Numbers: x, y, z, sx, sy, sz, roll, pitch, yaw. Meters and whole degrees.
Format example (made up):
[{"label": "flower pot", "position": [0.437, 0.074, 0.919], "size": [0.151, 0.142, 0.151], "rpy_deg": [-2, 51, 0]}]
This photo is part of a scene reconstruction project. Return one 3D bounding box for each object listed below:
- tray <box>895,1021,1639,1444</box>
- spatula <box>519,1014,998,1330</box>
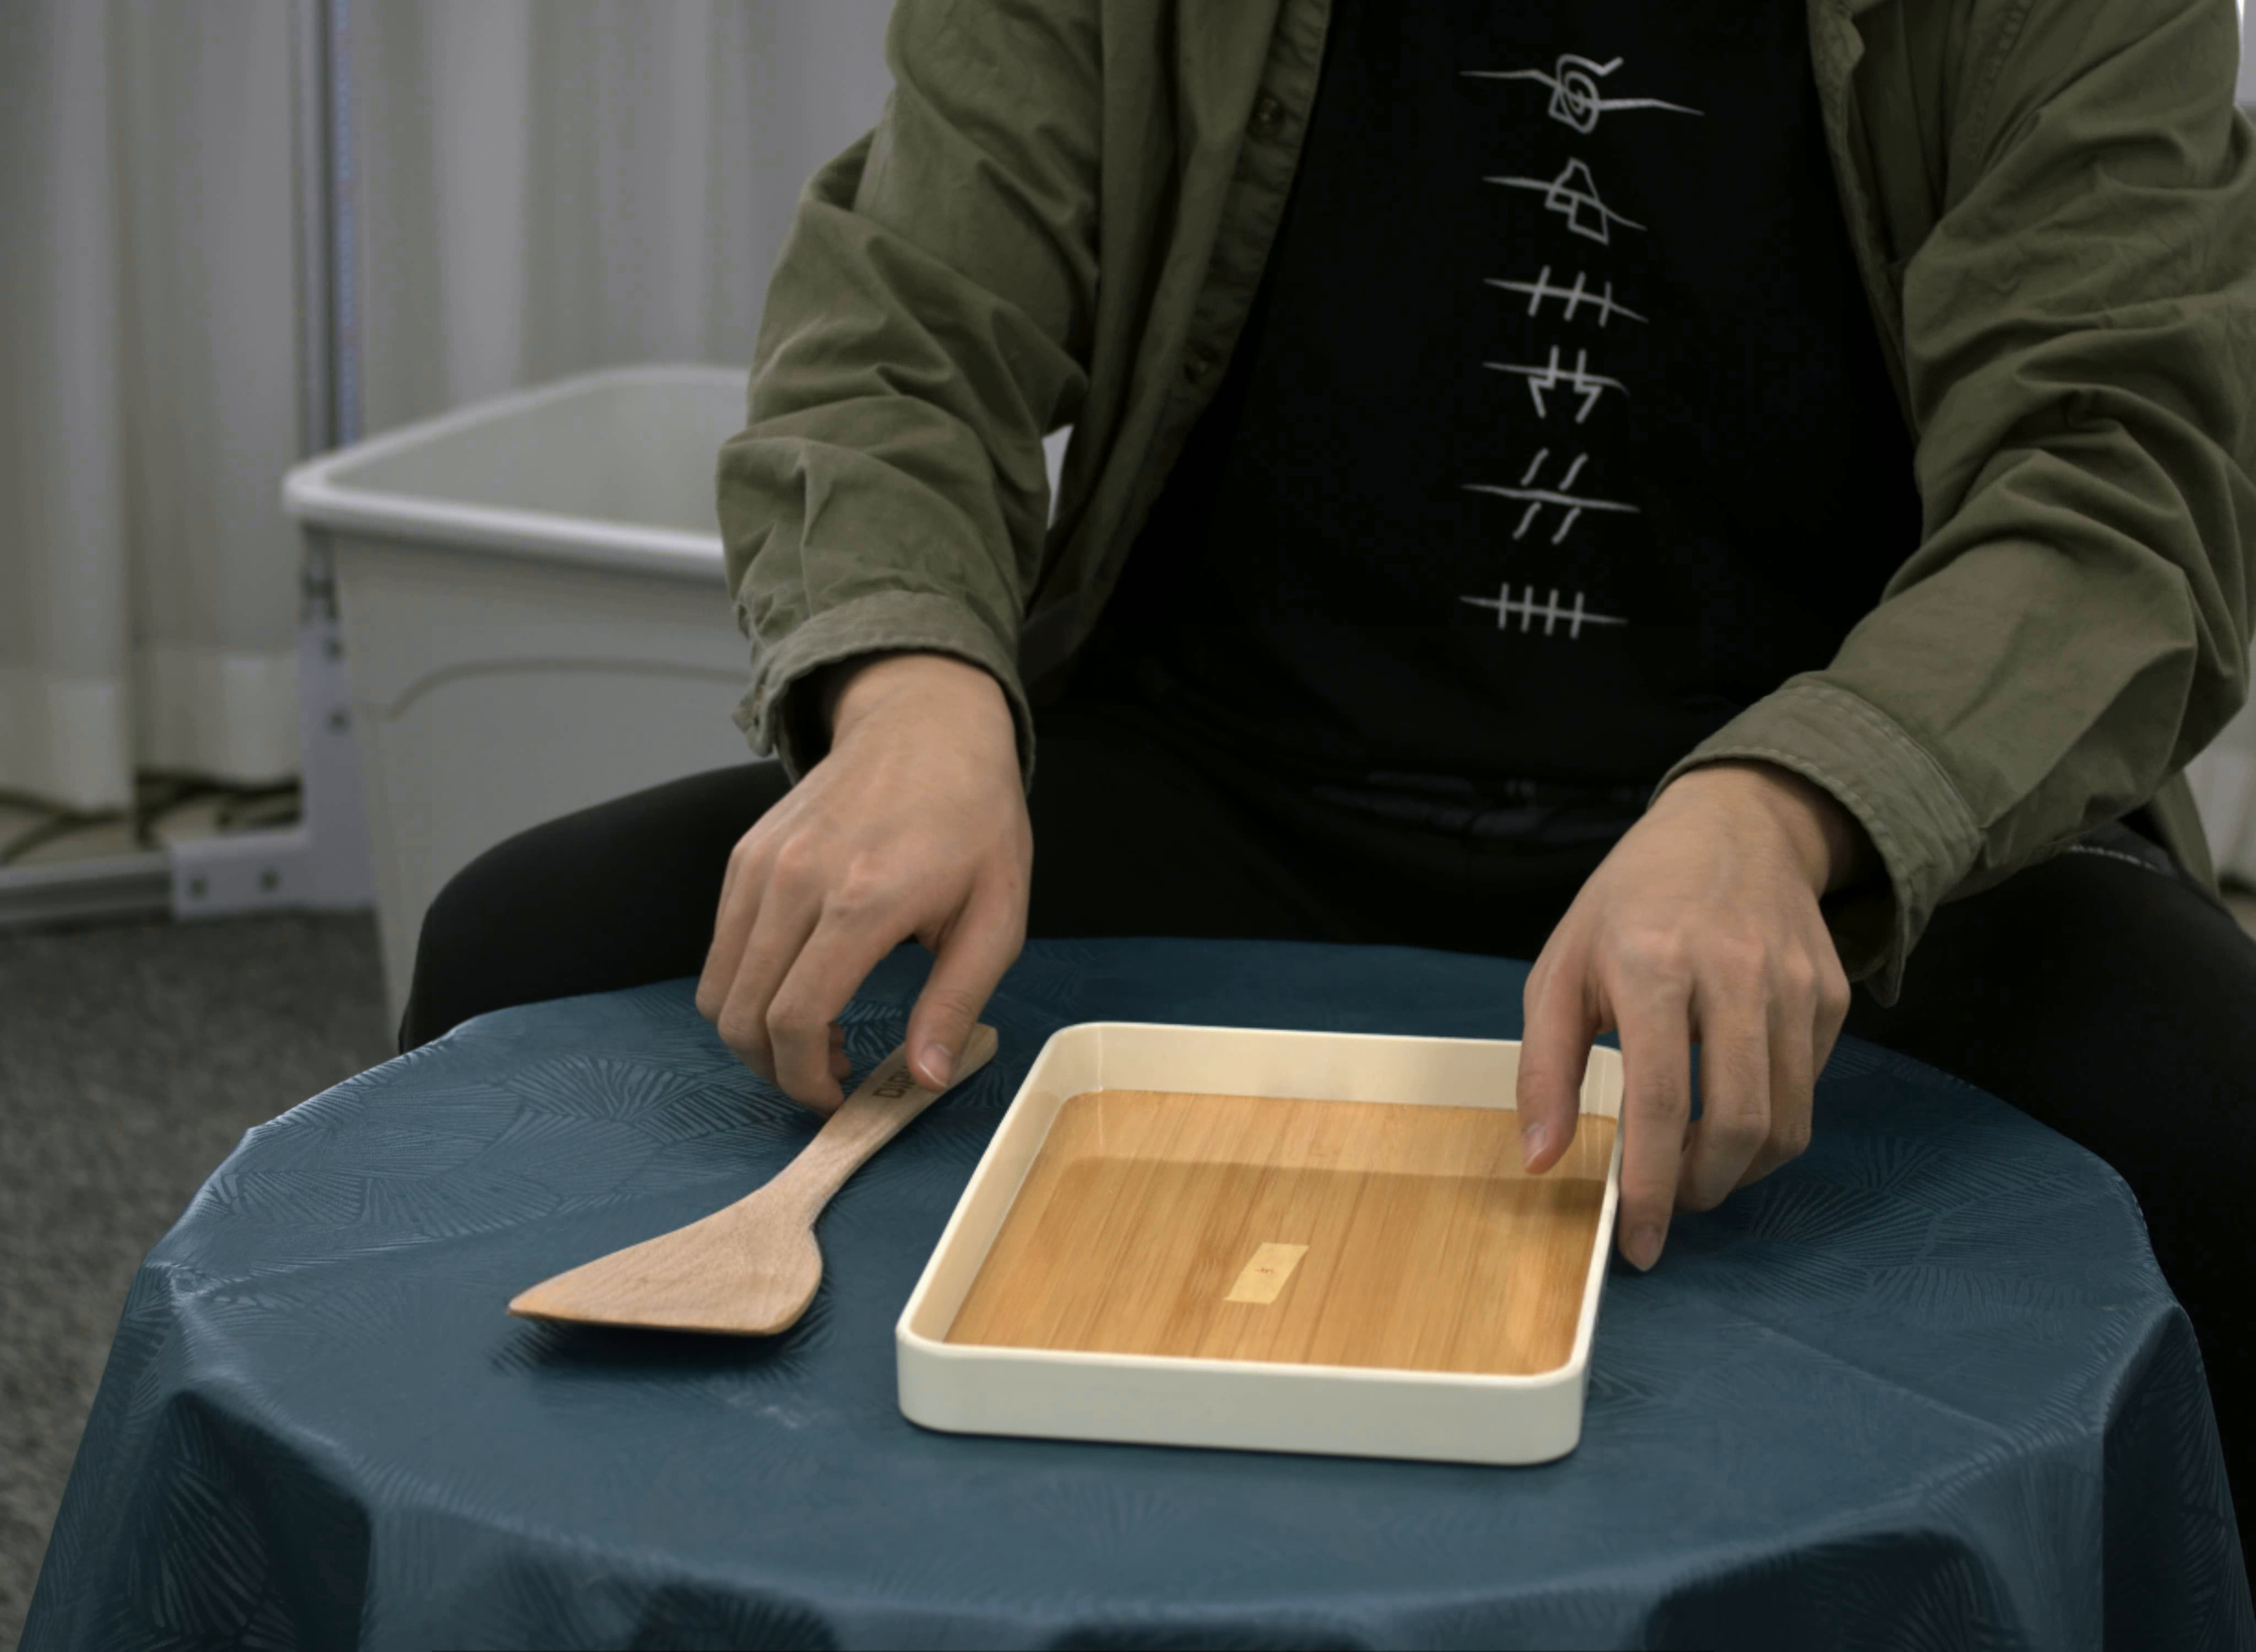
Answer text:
[{"label": "tray", "position": [0.049, 0.116, 1.566], "size": [0.190, 0.027, 0.299], "rpy_deg": [3, 15, 8]}, {"label": "spatula", "position": [-0.095, 0.104, 1.628], "size": [0.079, 0.016, 0.327], "rpy_deg": [5, 16, 14]}]
